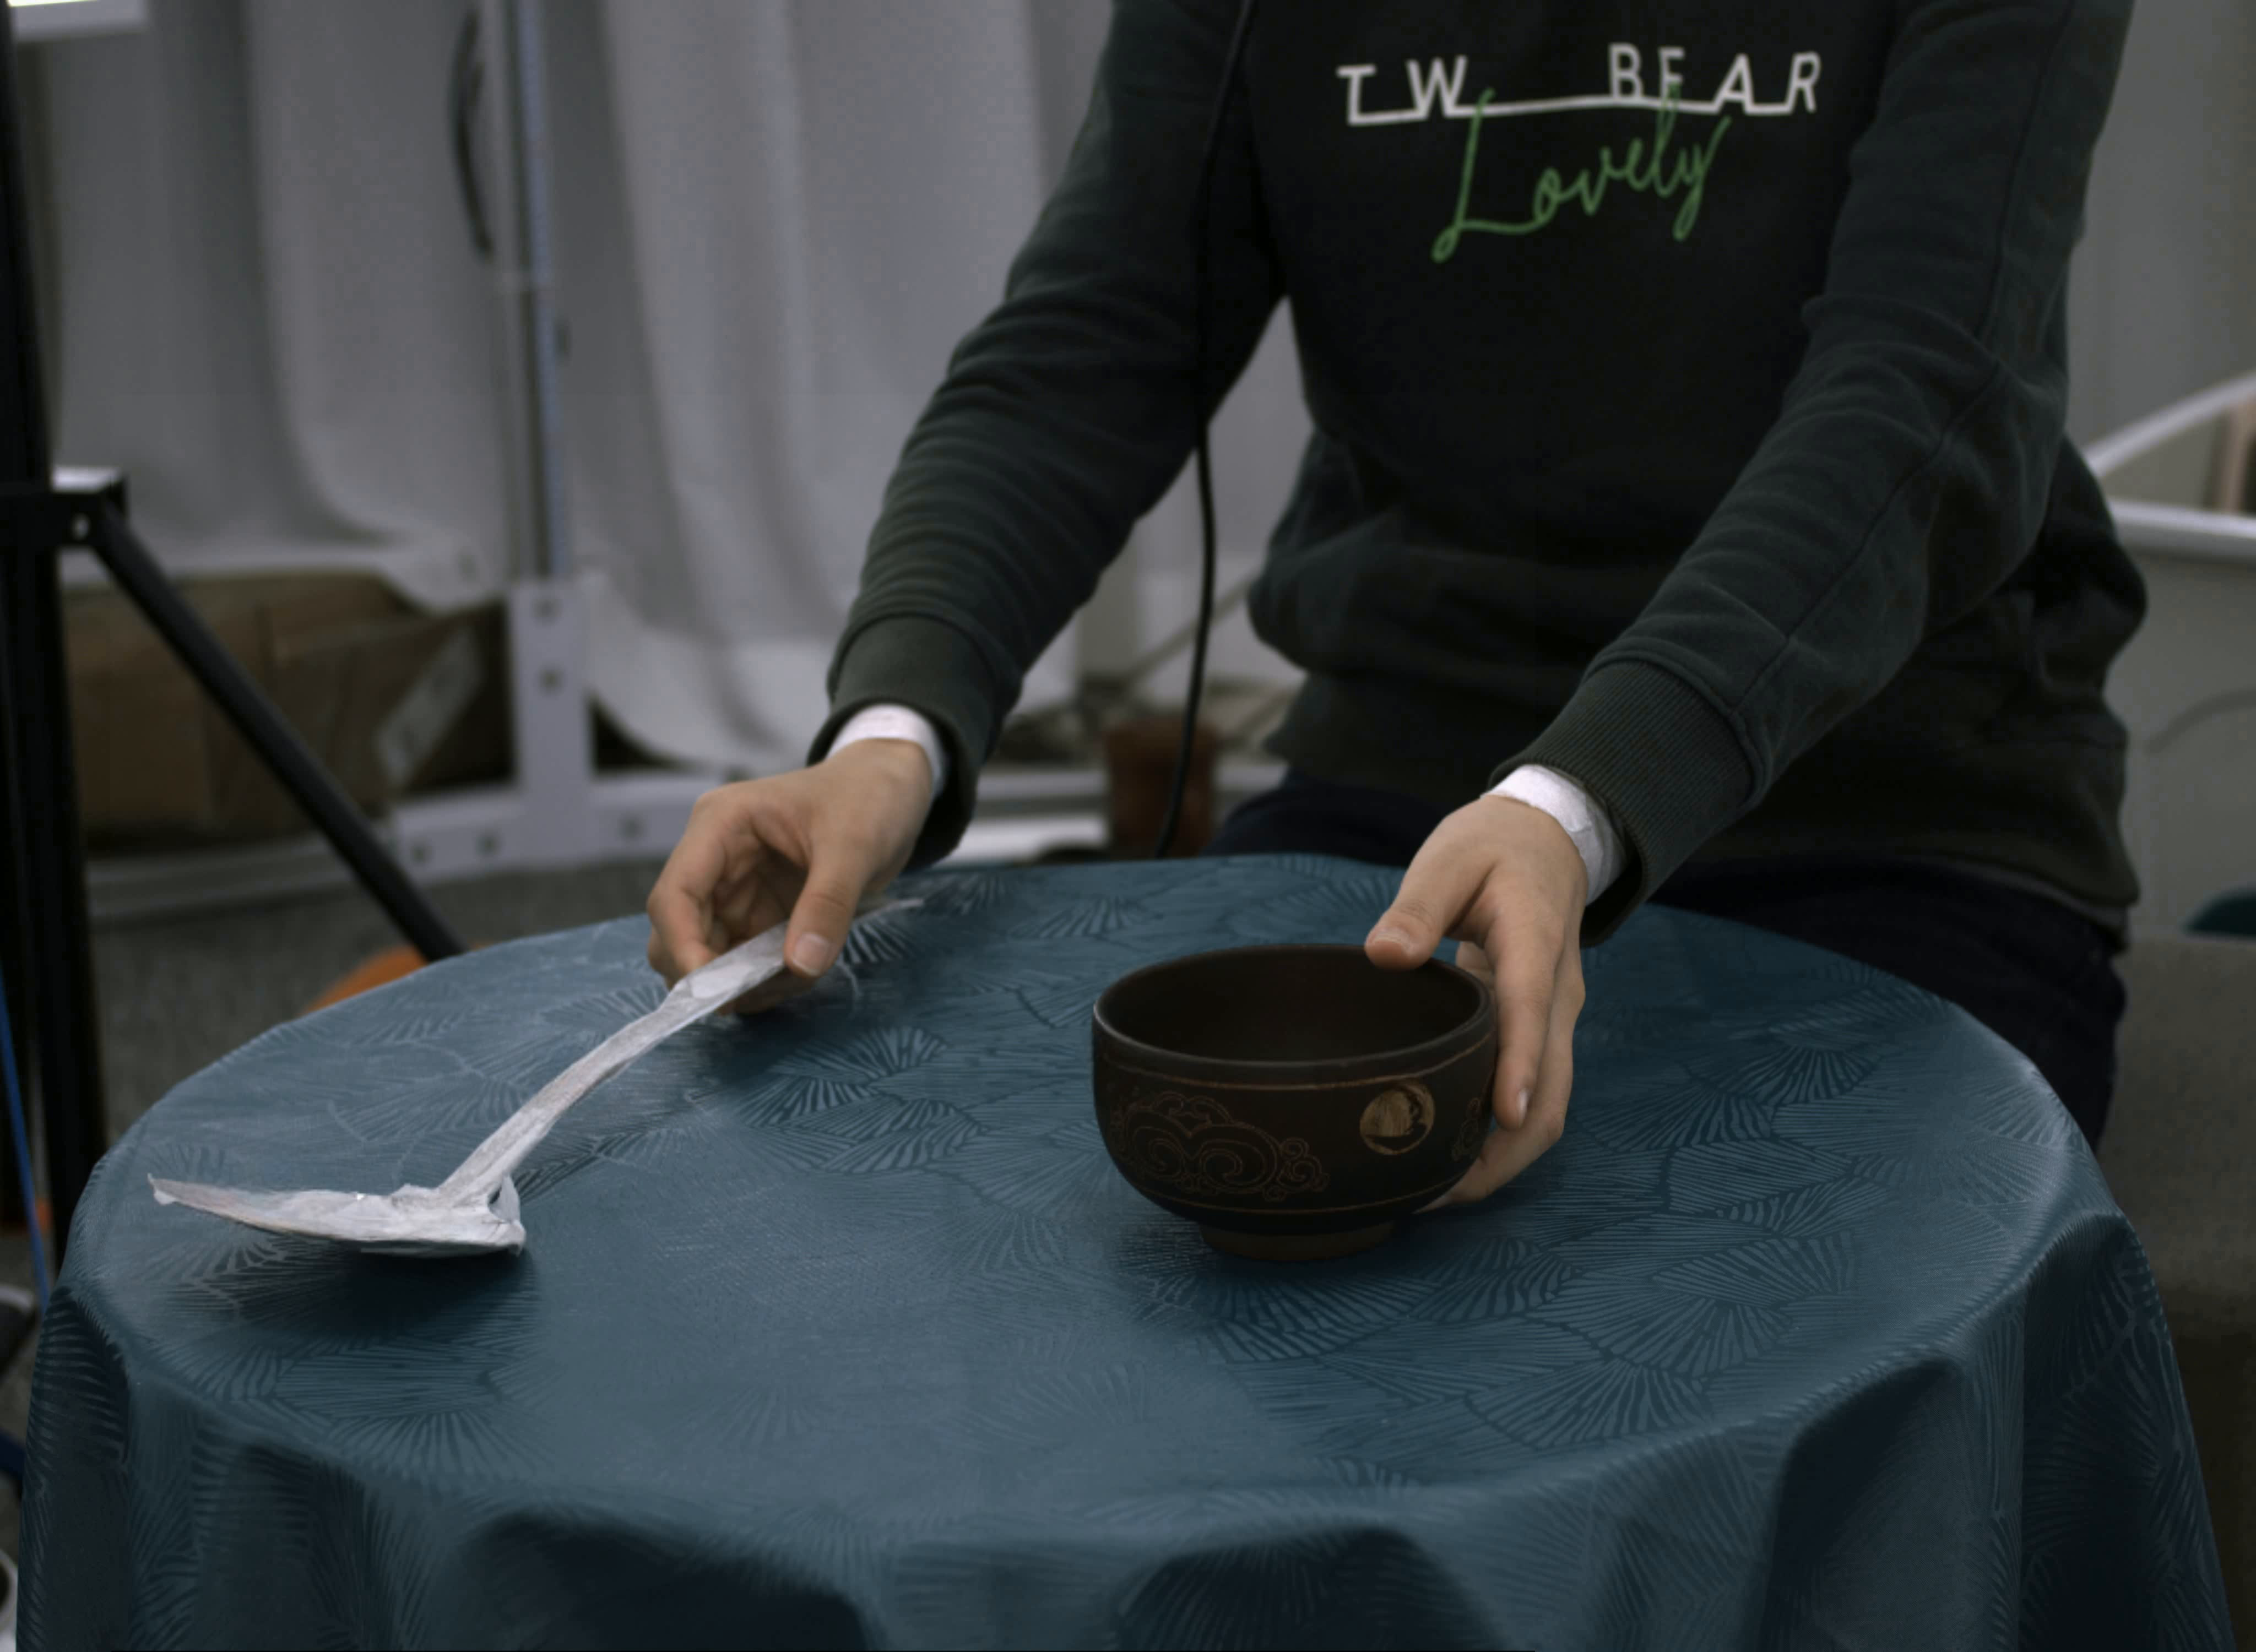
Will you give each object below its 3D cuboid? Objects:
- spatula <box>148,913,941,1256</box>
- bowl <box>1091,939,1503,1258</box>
[{"bbox_3d":[-0.157,0.069,1.626,0.100,0.044,0.359,7,22,28],"label":"spatula"},{"bbox_3d":[0.048,0.081,1.513,0.117,0.070,0.118,-1,15,-1],"label":"bowl"}]
